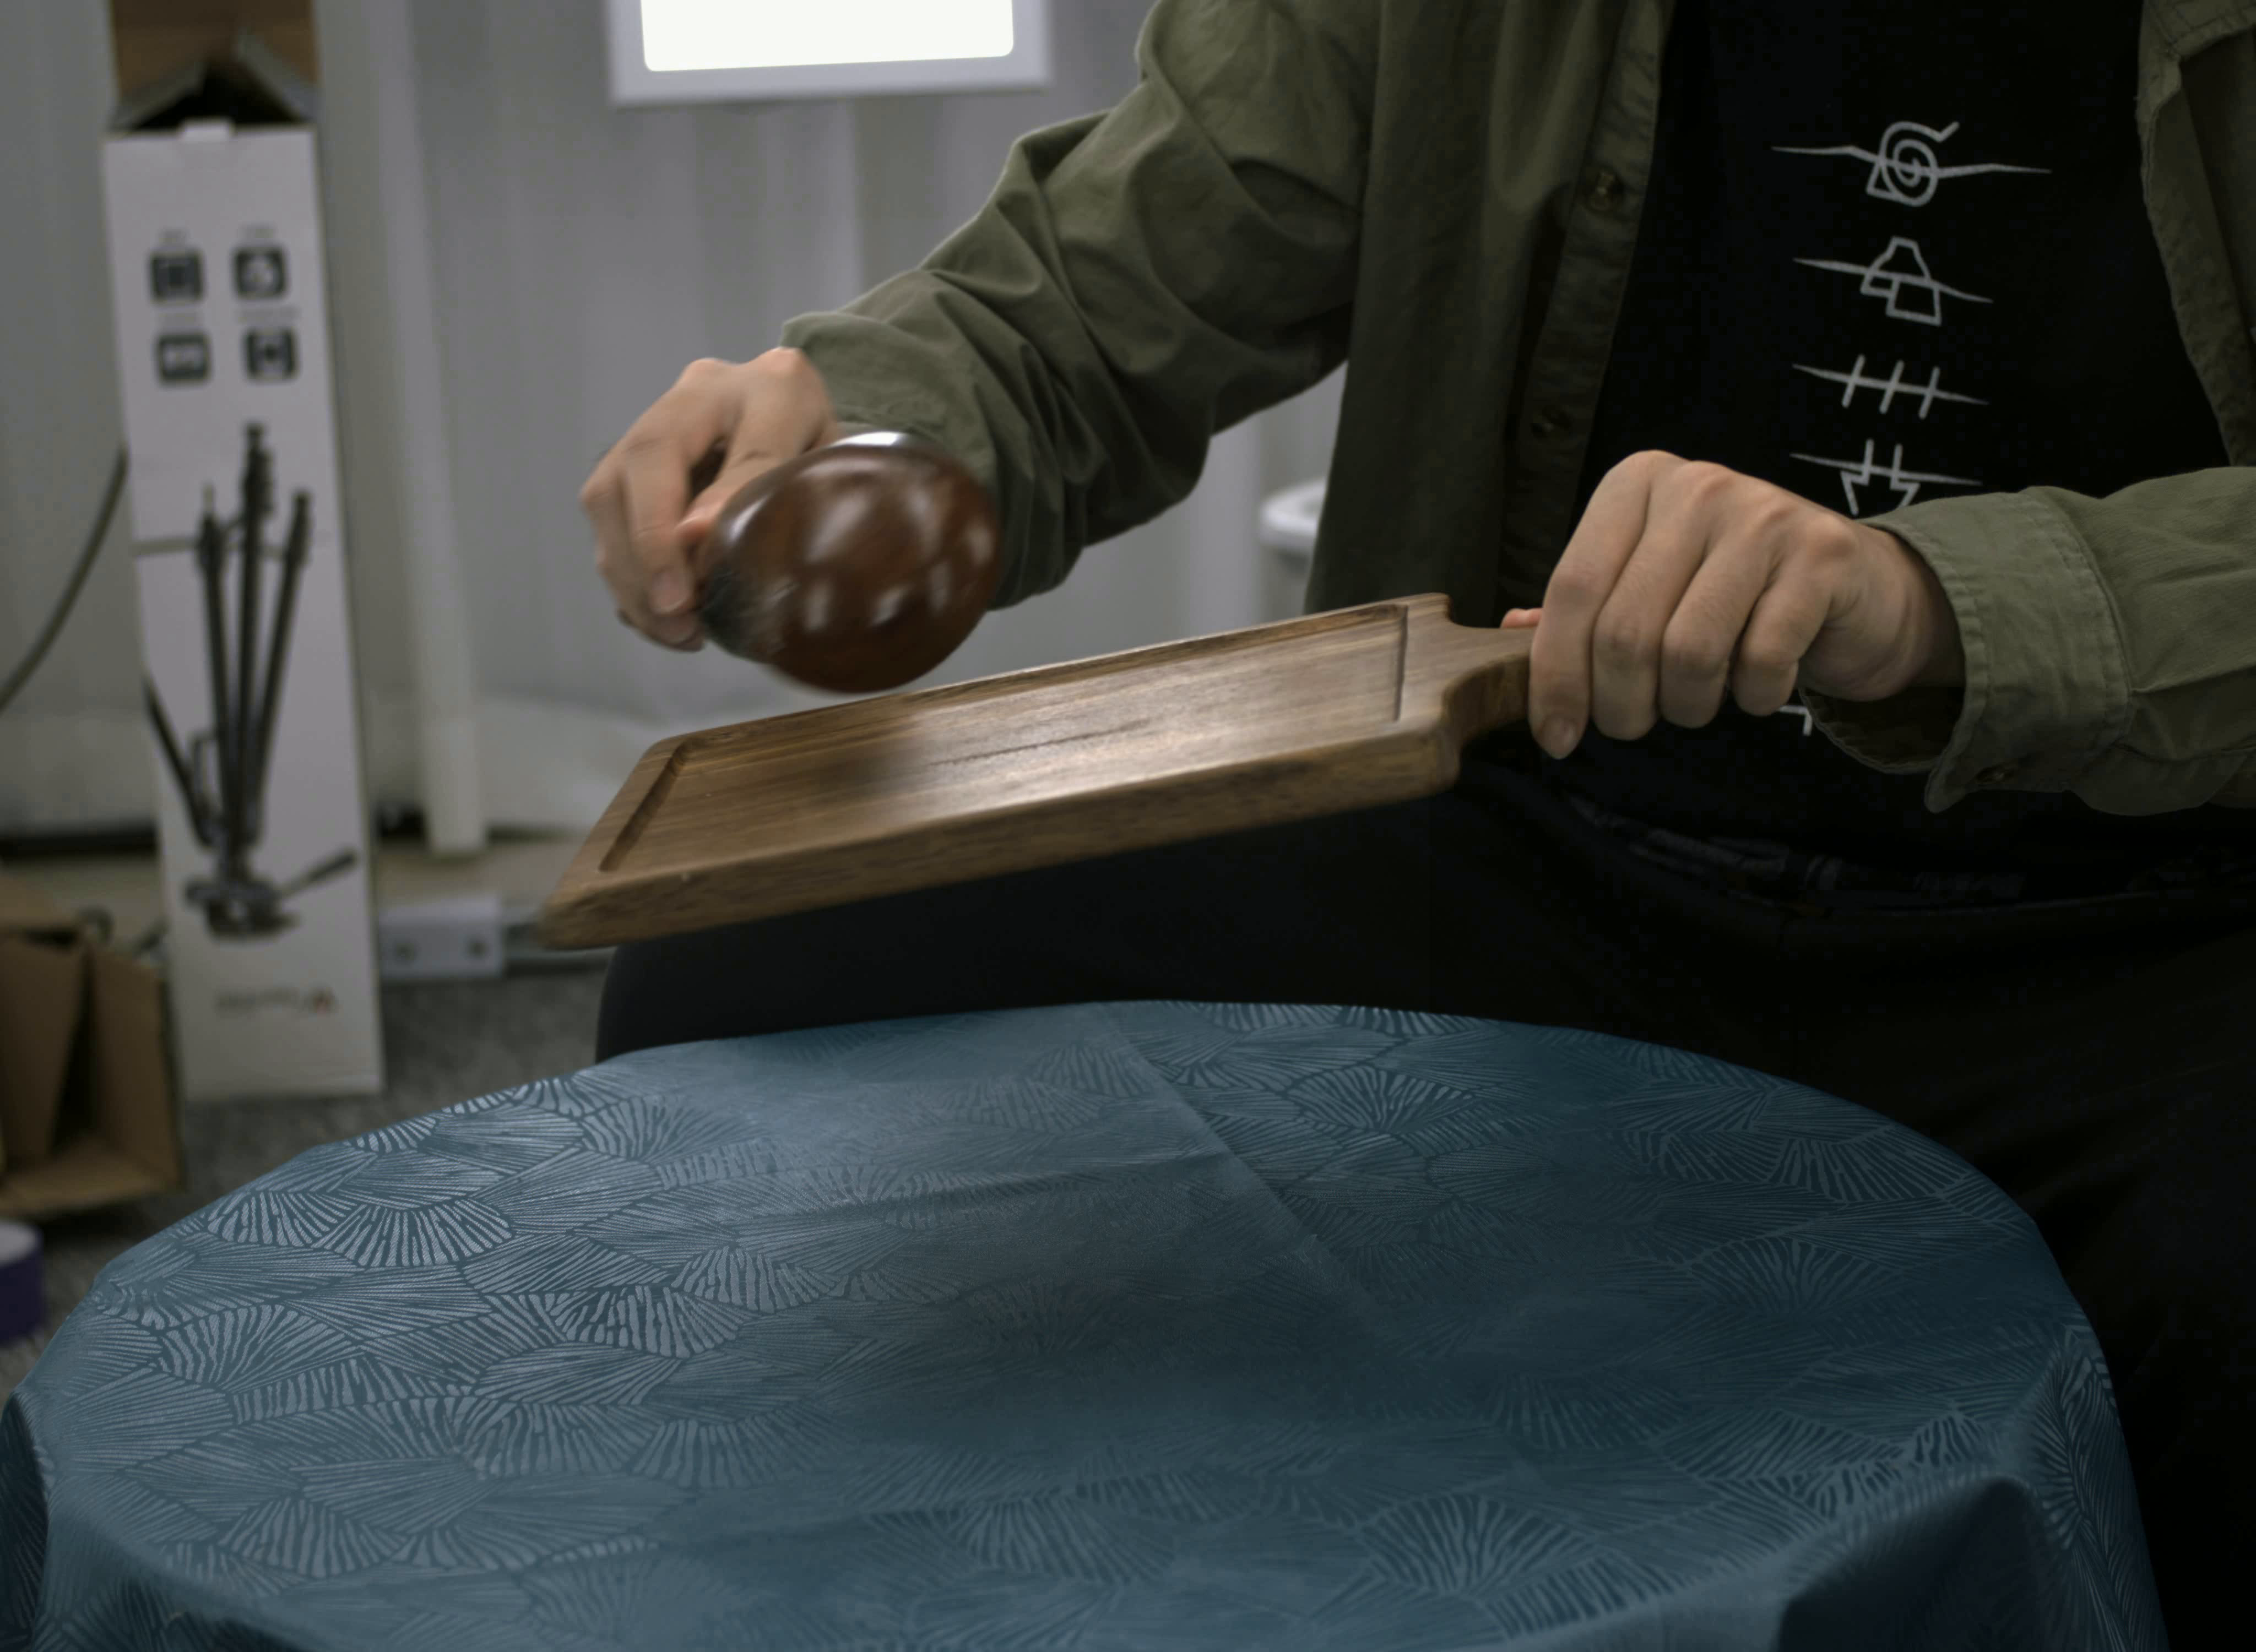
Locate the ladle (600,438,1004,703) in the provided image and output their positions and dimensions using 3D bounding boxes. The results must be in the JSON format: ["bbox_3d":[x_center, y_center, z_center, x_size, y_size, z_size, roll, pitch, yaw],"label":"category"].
[{"bbox_3d":[-0.103,-0.066,1.656,0.082,0.076,0.274,-46,7,-14],"label":"ladle"}]

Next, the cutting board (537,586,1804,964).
[{"bbox_3d":[0.016,-0.024,1.551,0.351,0.023,0.202,-11,12,8],"label":"cutting board"}]
